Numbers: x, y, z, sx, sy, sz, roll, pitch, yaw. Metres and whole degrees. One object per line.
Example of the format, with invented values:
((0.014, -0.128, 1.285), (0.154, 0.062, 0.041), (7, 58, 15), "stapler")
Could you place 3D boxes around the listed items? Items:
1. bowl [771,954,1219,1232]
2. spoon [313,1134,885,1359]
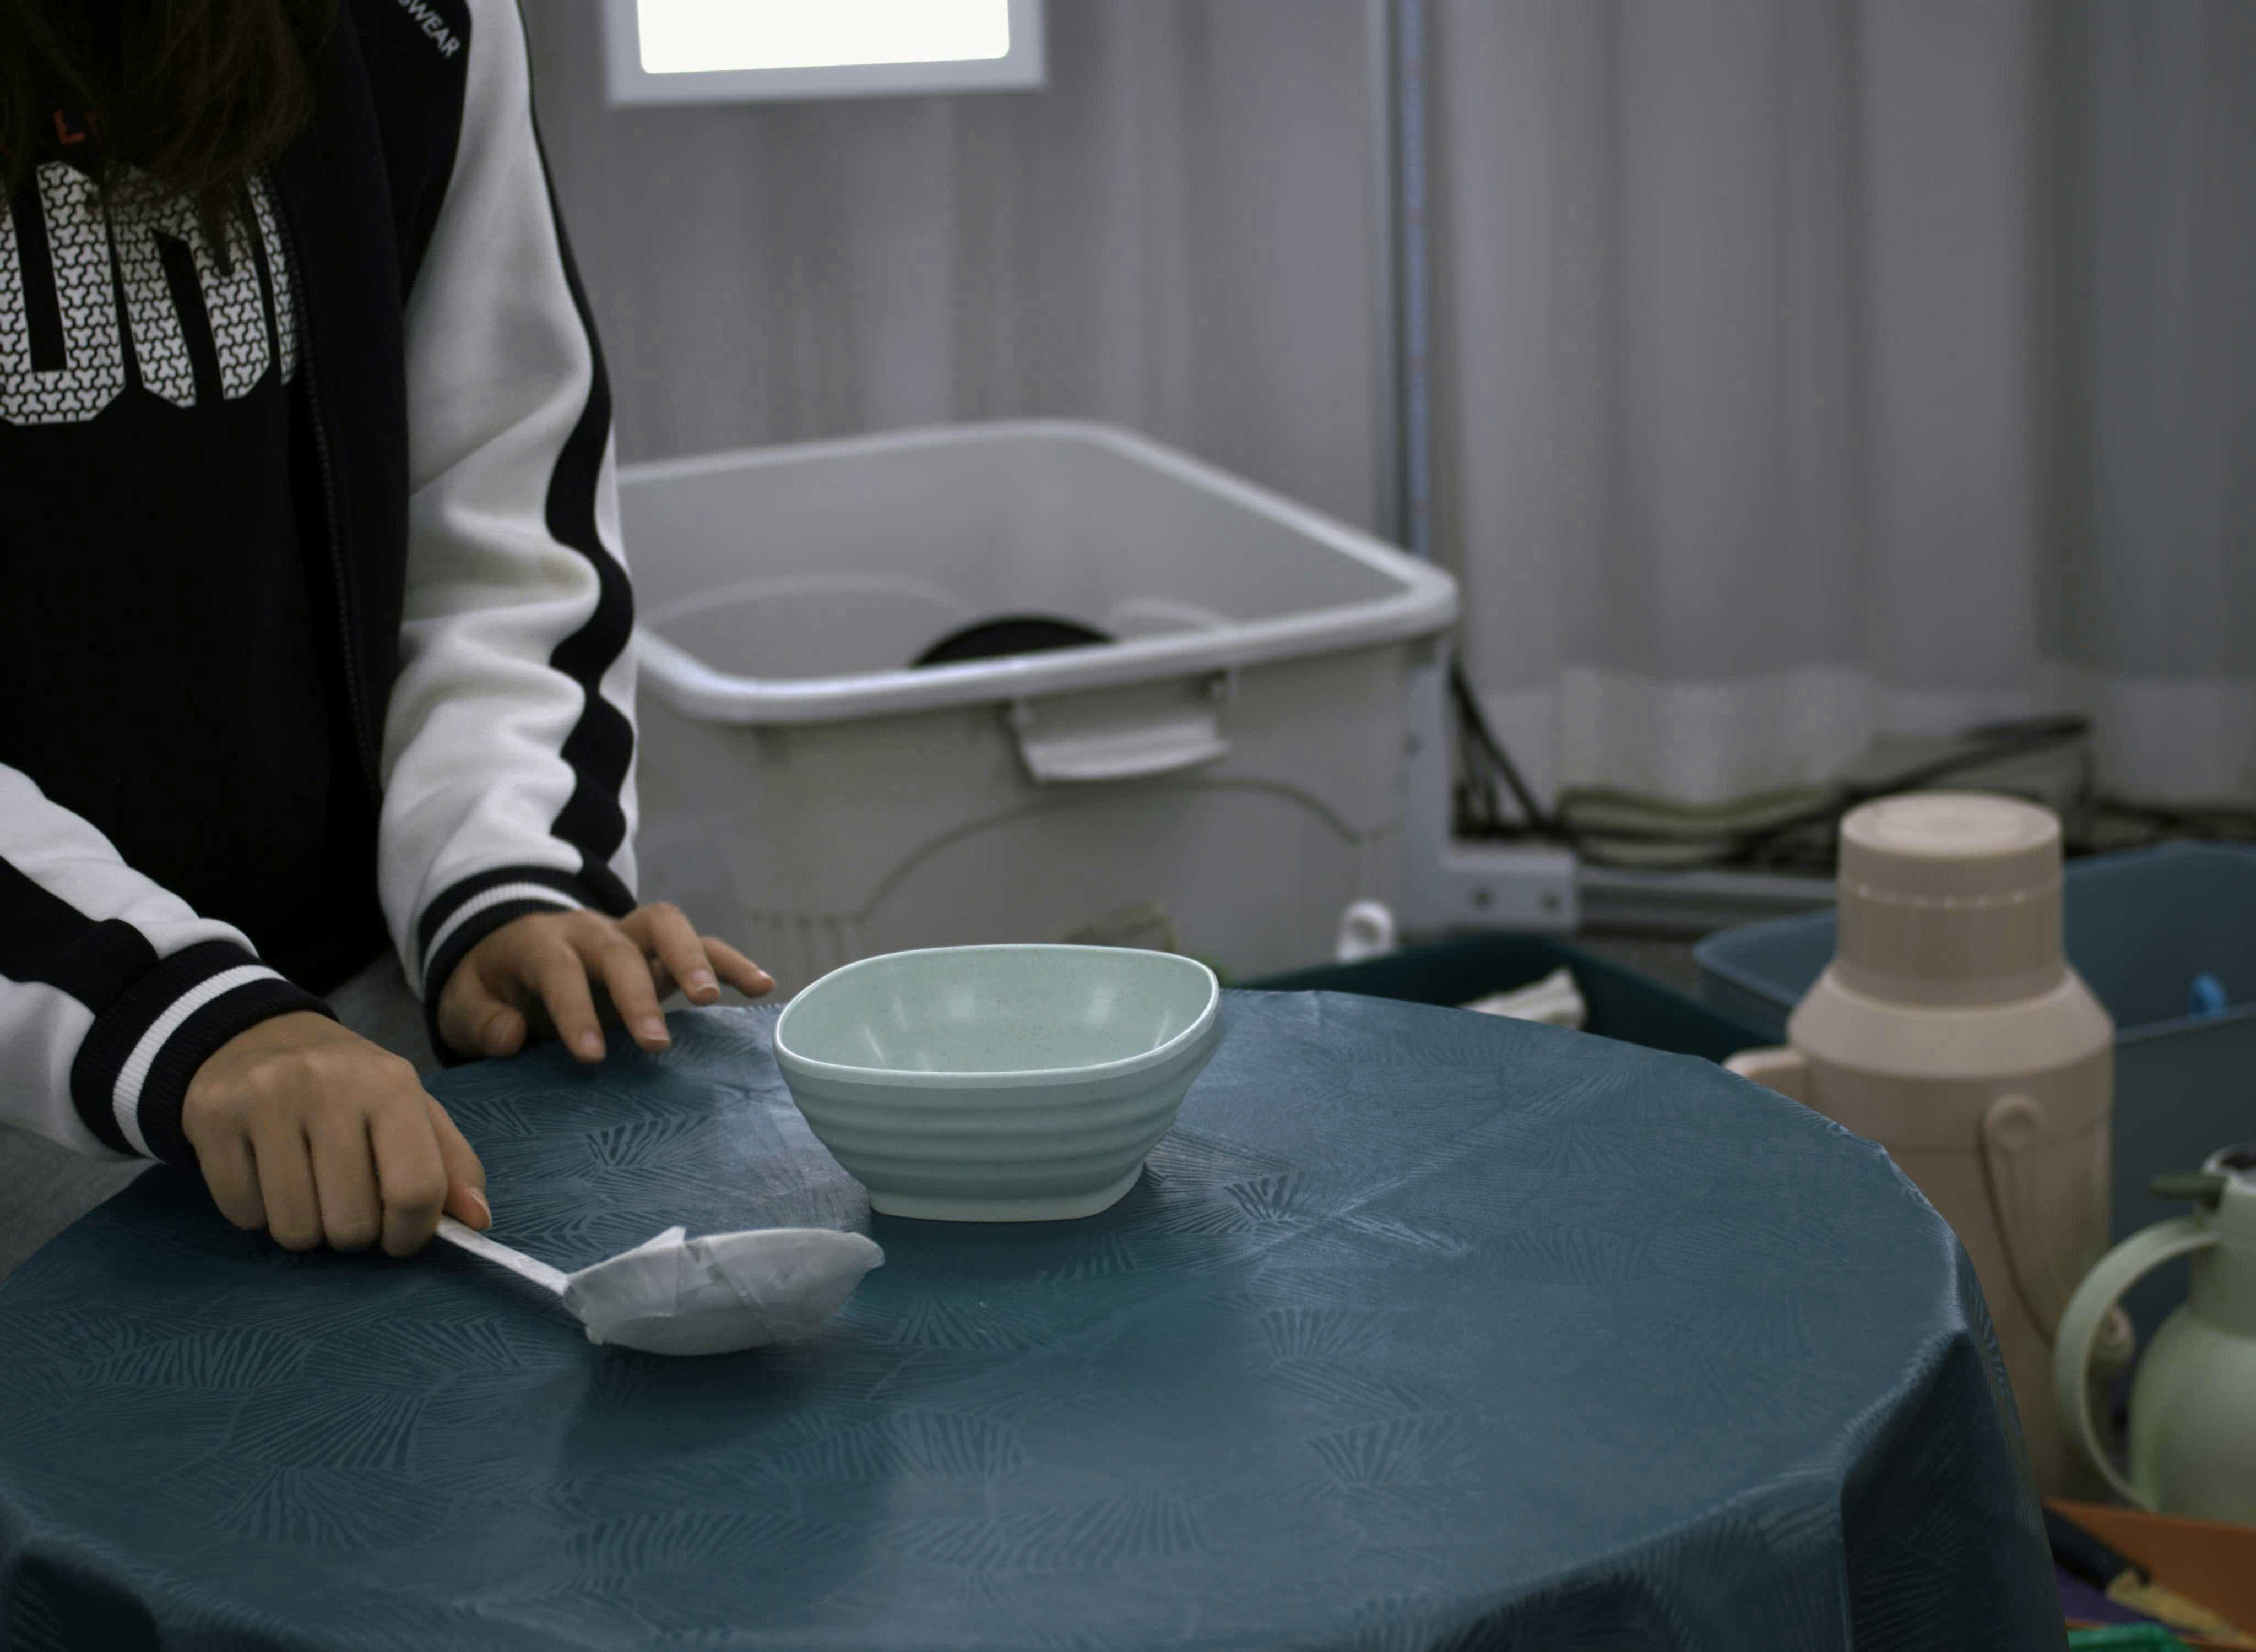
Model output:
((-0.040, 0.087, 1.726), (0.151, 0.058, 0.152), (-3, 14, 0), "bowl")
((-0.169, 0.109, 1.651), (0.100, 0.059, 0.279), (13, 5, -36), "spoon")
